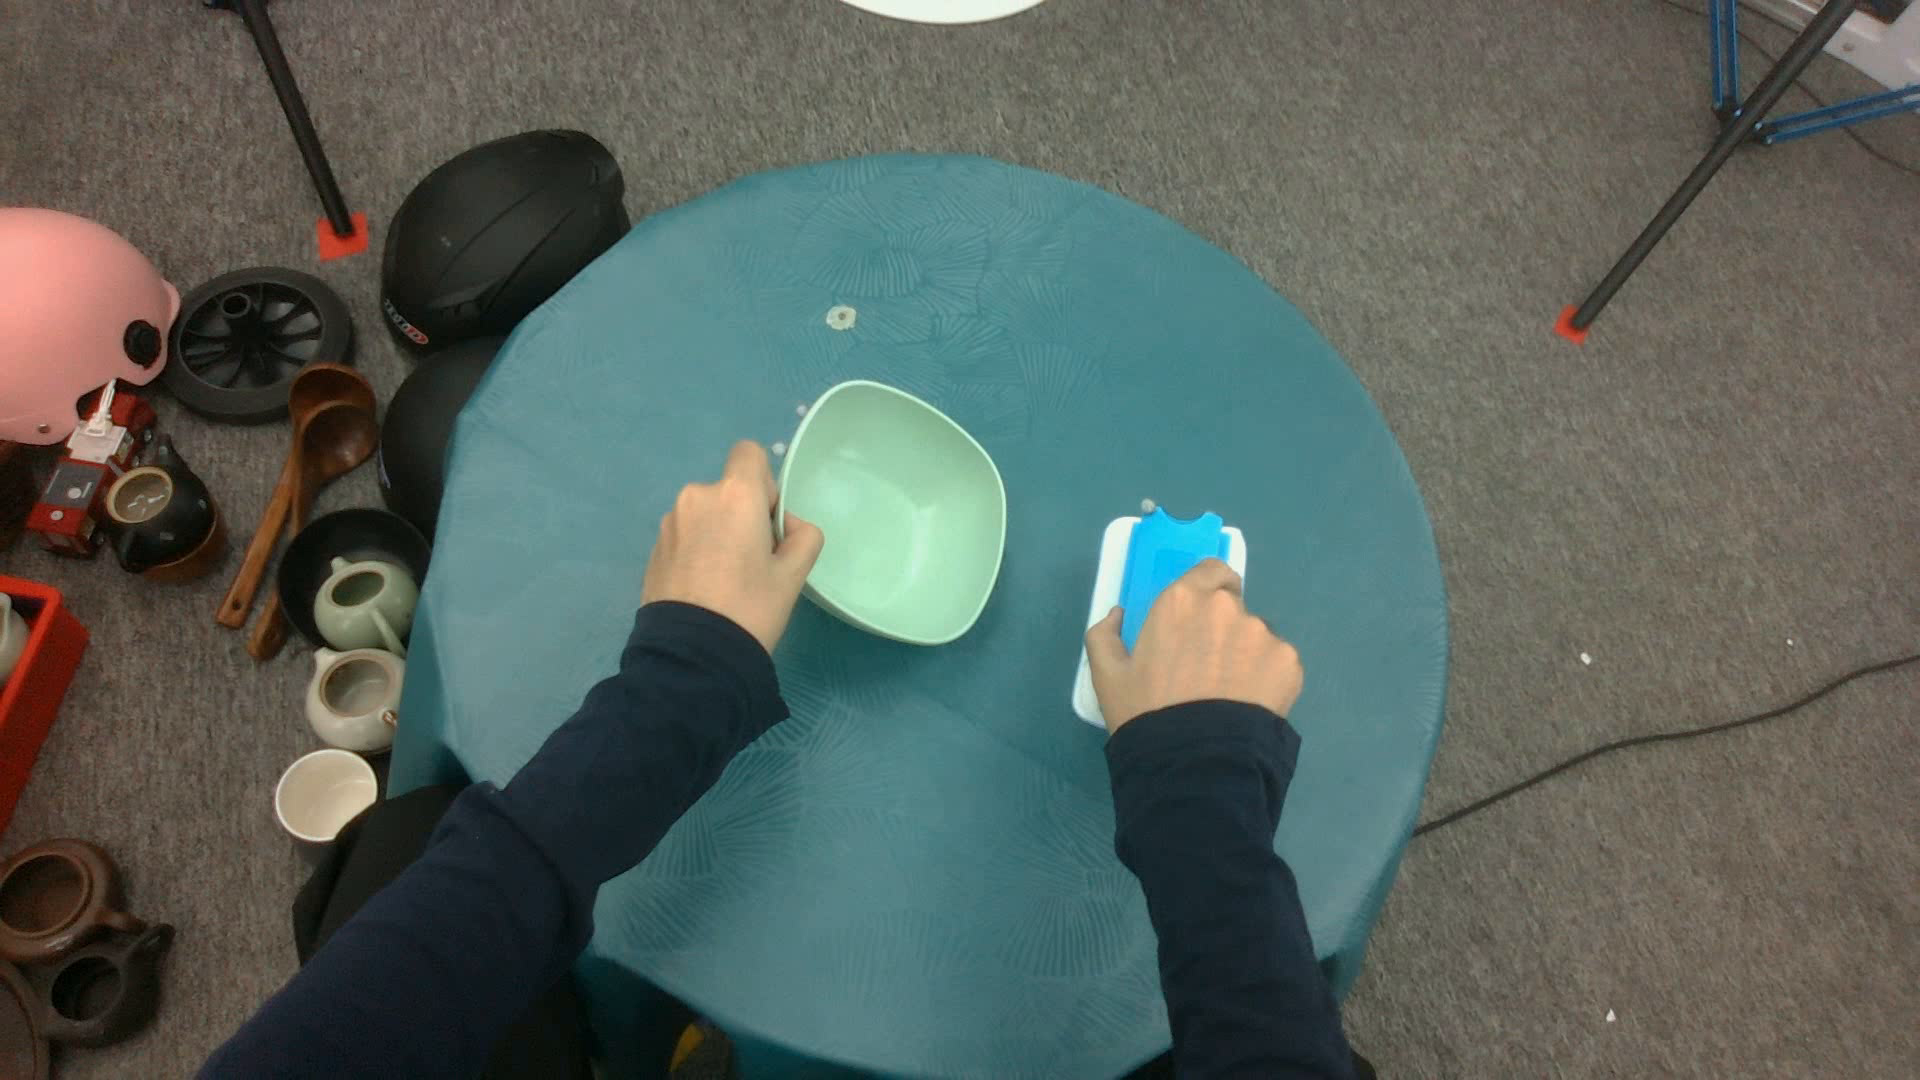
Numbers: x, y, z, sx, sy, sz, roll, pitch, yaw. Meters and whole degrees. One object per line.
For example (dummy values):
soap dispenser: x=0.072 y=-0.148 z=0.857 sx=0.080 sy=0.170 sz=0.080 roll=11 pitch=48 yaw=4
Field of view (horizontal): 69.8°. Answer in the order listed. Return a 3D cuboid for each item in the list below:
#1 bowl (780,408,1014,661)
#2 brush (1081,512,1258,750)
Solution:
bowl: x=-0.044 y=0.003 z=0.779 sx=0.151 sy=0.058 sz=0.152 roll=12 pitch=66 yaw=-28
brush: x=0.113 y=0.040 z=0.731 sx=0.084 sy=0.055 sz=0.144 roll=6 pitch=51 yaw=13
